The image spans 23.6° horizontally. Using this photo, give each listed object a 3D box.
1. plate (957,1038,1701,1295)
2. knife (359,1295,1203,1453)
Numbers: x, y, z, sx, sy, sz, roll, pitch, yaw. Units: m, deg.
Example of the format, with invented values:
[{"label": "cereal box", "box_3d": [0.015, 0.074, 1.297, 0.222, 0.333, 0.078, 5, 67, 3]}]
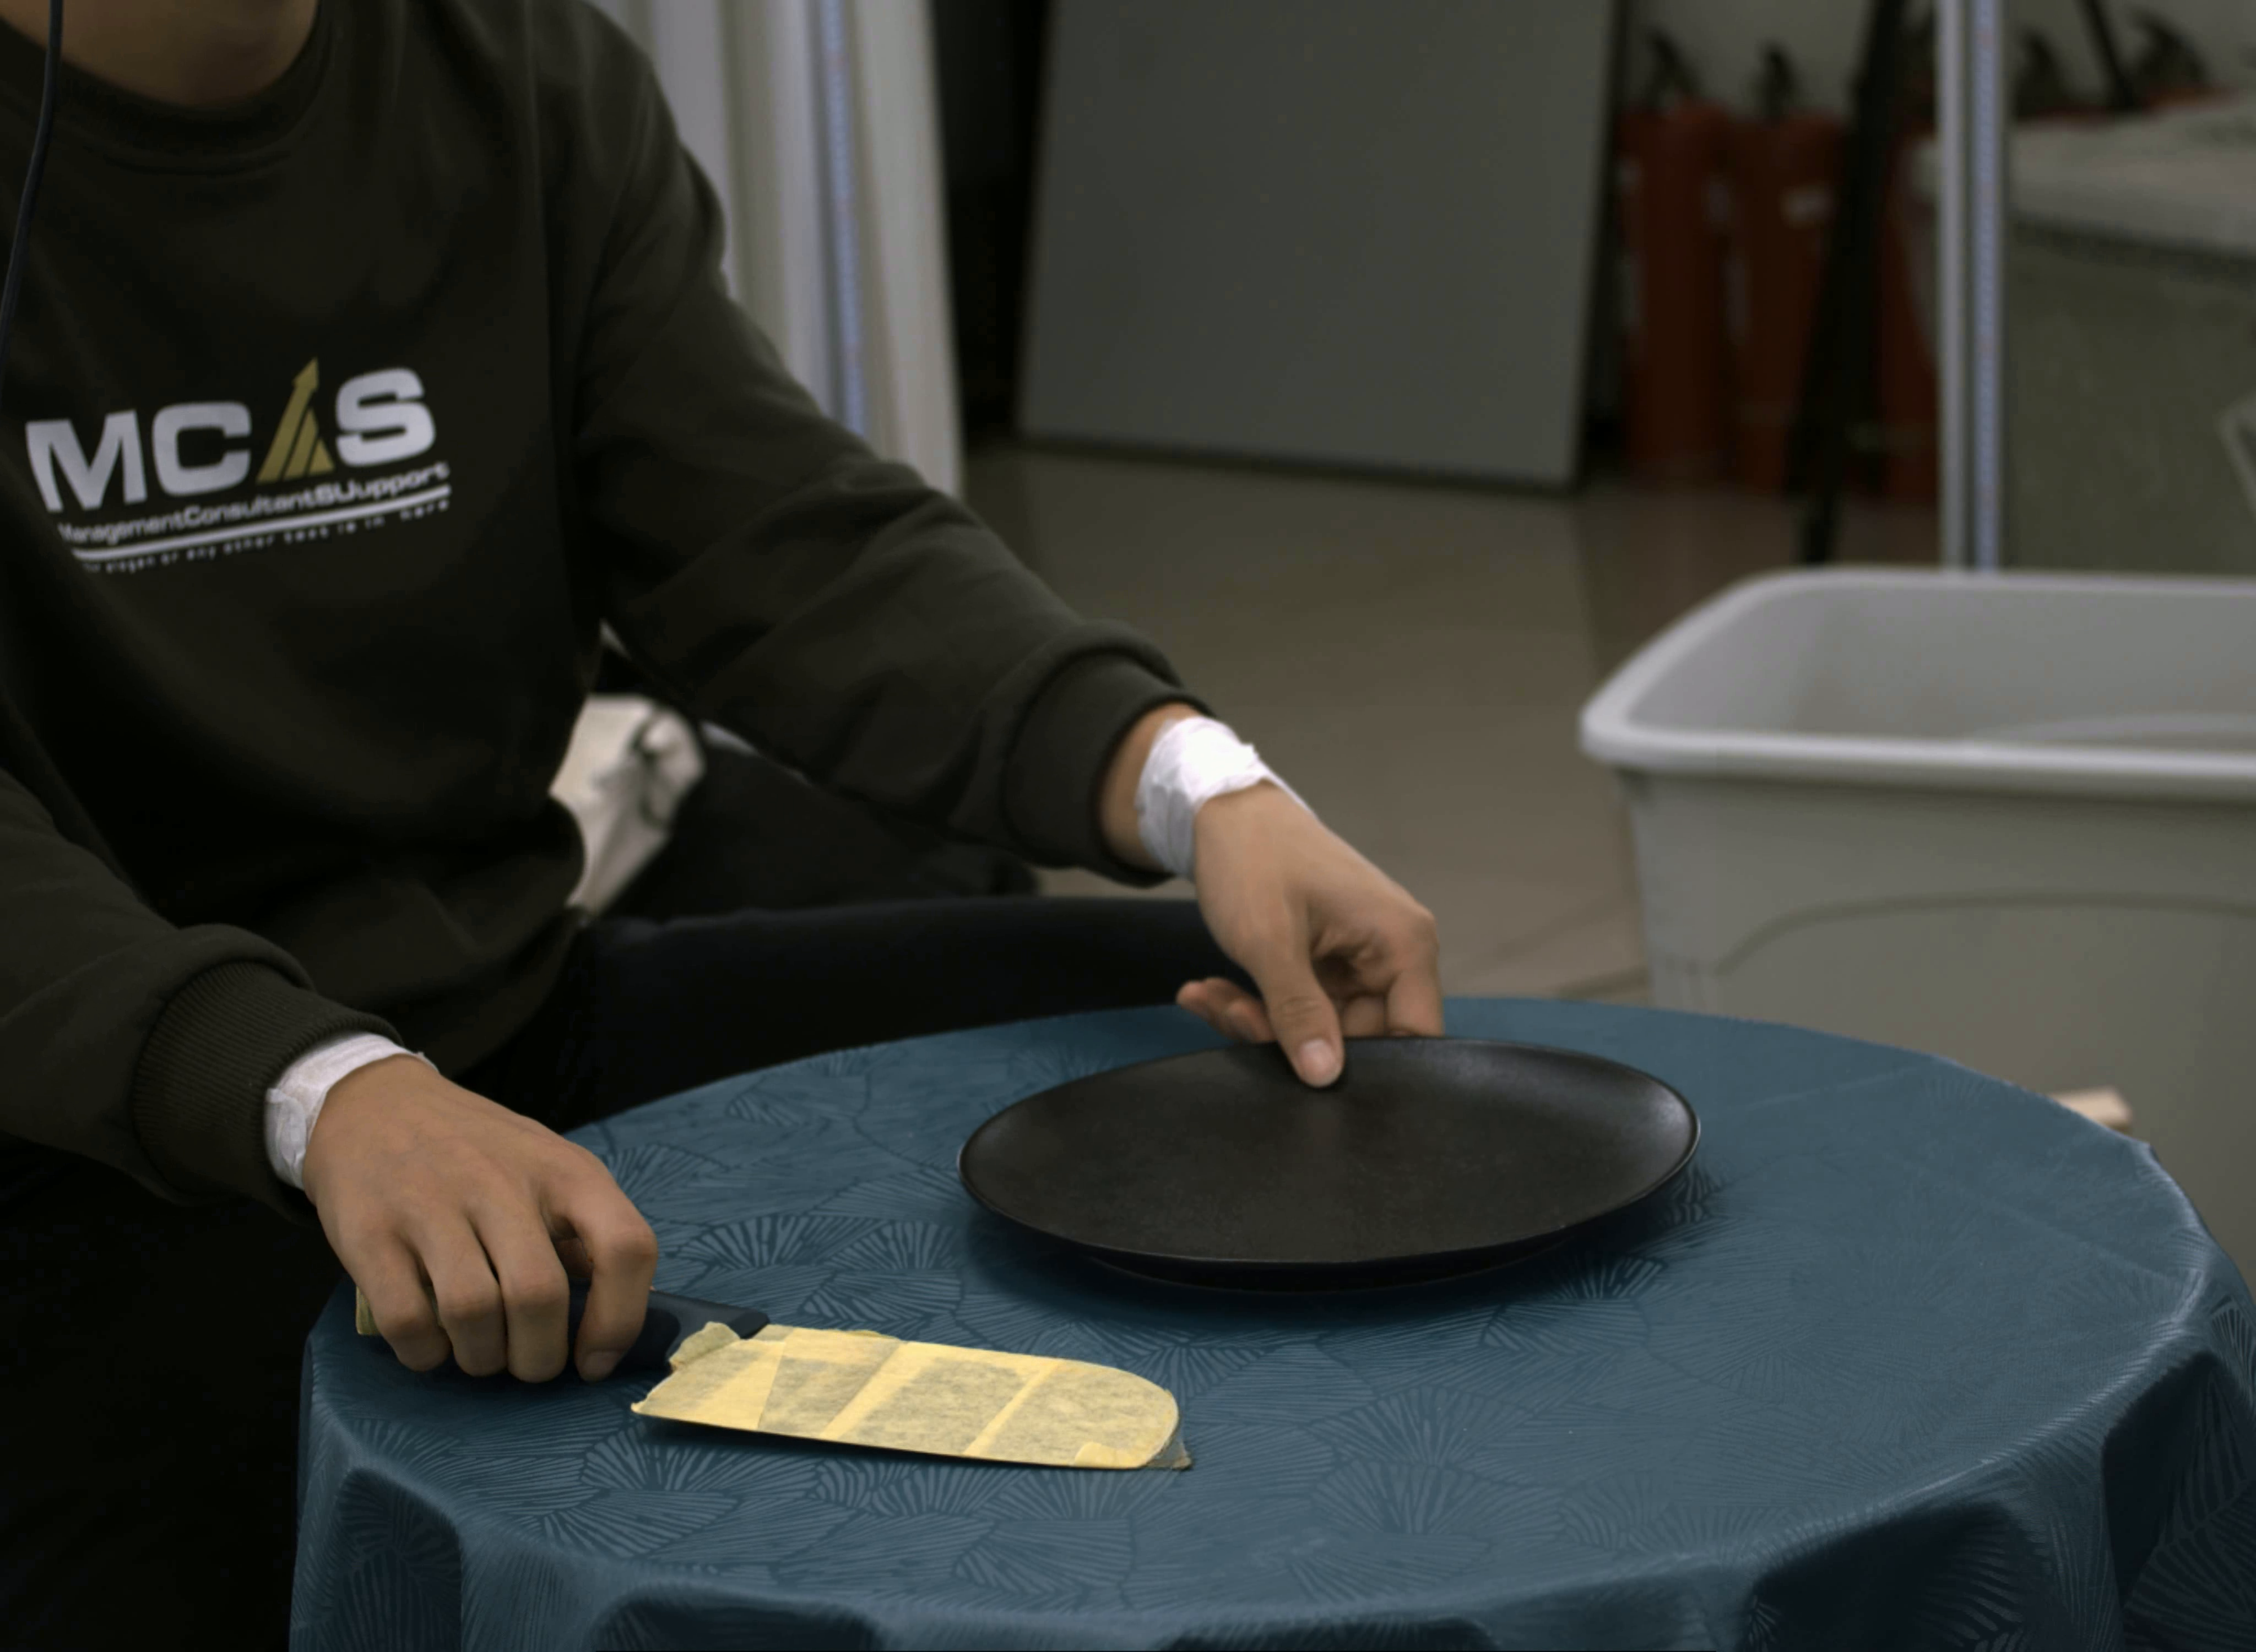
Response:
[{"label": "plate", "box_3d": [0.065, 0.112, 1.743, 0.241, 0.024, 0.245, -4, 13, 0]}, {"label": "knife", "box_3d": [-0.109, 0.165, 1.597, 0.290, 0.027, 0.080, 3, 15, 25]}]
